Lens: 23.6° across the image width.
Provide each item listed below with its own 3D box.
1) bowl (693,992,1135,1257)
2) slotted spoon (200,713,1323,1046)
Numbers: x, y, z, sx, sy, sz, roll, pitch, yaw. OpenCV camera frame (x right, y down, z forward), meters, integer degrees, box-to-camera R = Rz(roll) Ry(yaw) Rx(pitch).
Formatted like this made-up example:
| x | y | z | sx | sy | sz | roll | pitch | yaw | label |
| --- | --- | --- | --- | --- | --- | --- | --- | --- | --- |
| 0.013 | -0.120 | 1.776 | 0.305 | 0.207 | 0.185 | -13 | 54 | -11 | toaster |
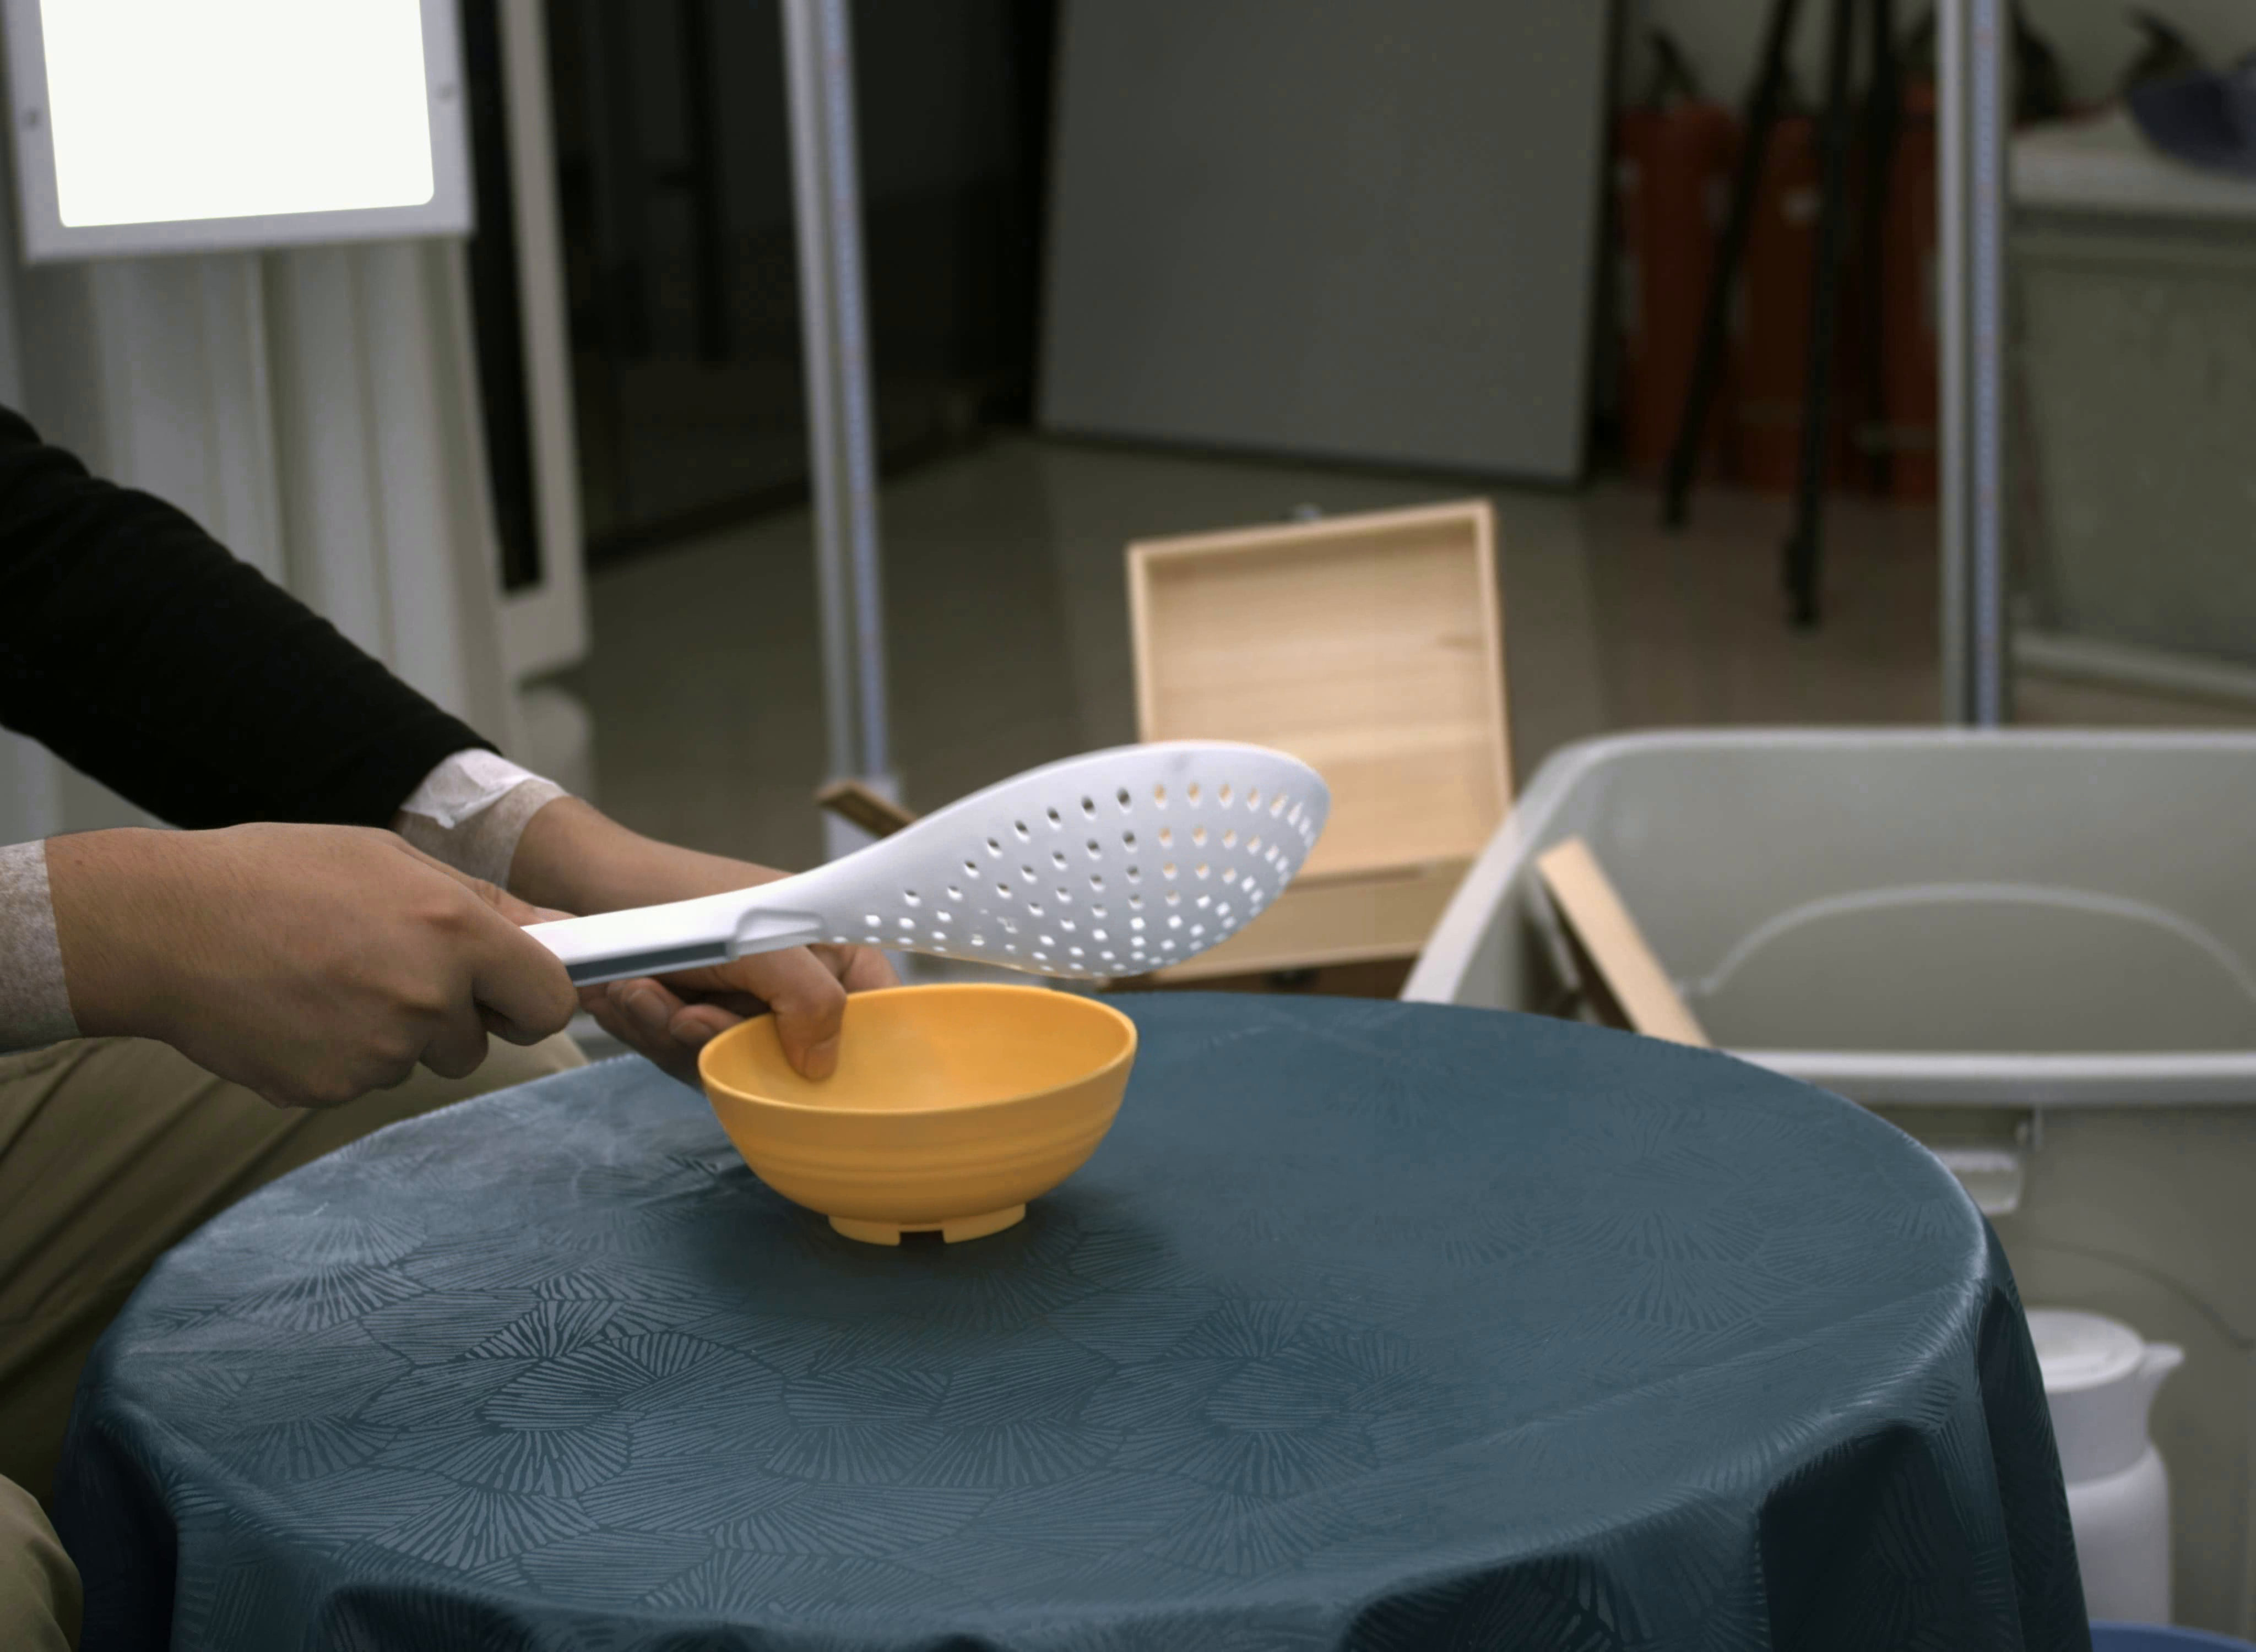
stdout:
| x | y | z | sx | sy | sz | roll | pitch | yaw | label |
| --- | --- | --- | --- | --- | --- | --- | --- | --- | --- |
| -0.068 | 0.101 | 1.753 | 0.143 | 0.061 | 0.145 | -2 | 13 | 0 | bowl |
| -0.109 | 0.025 | 1.646 | 0.345 | 0.046 | 0.136 | -6 | -26 | -2 | slotted spoon |
